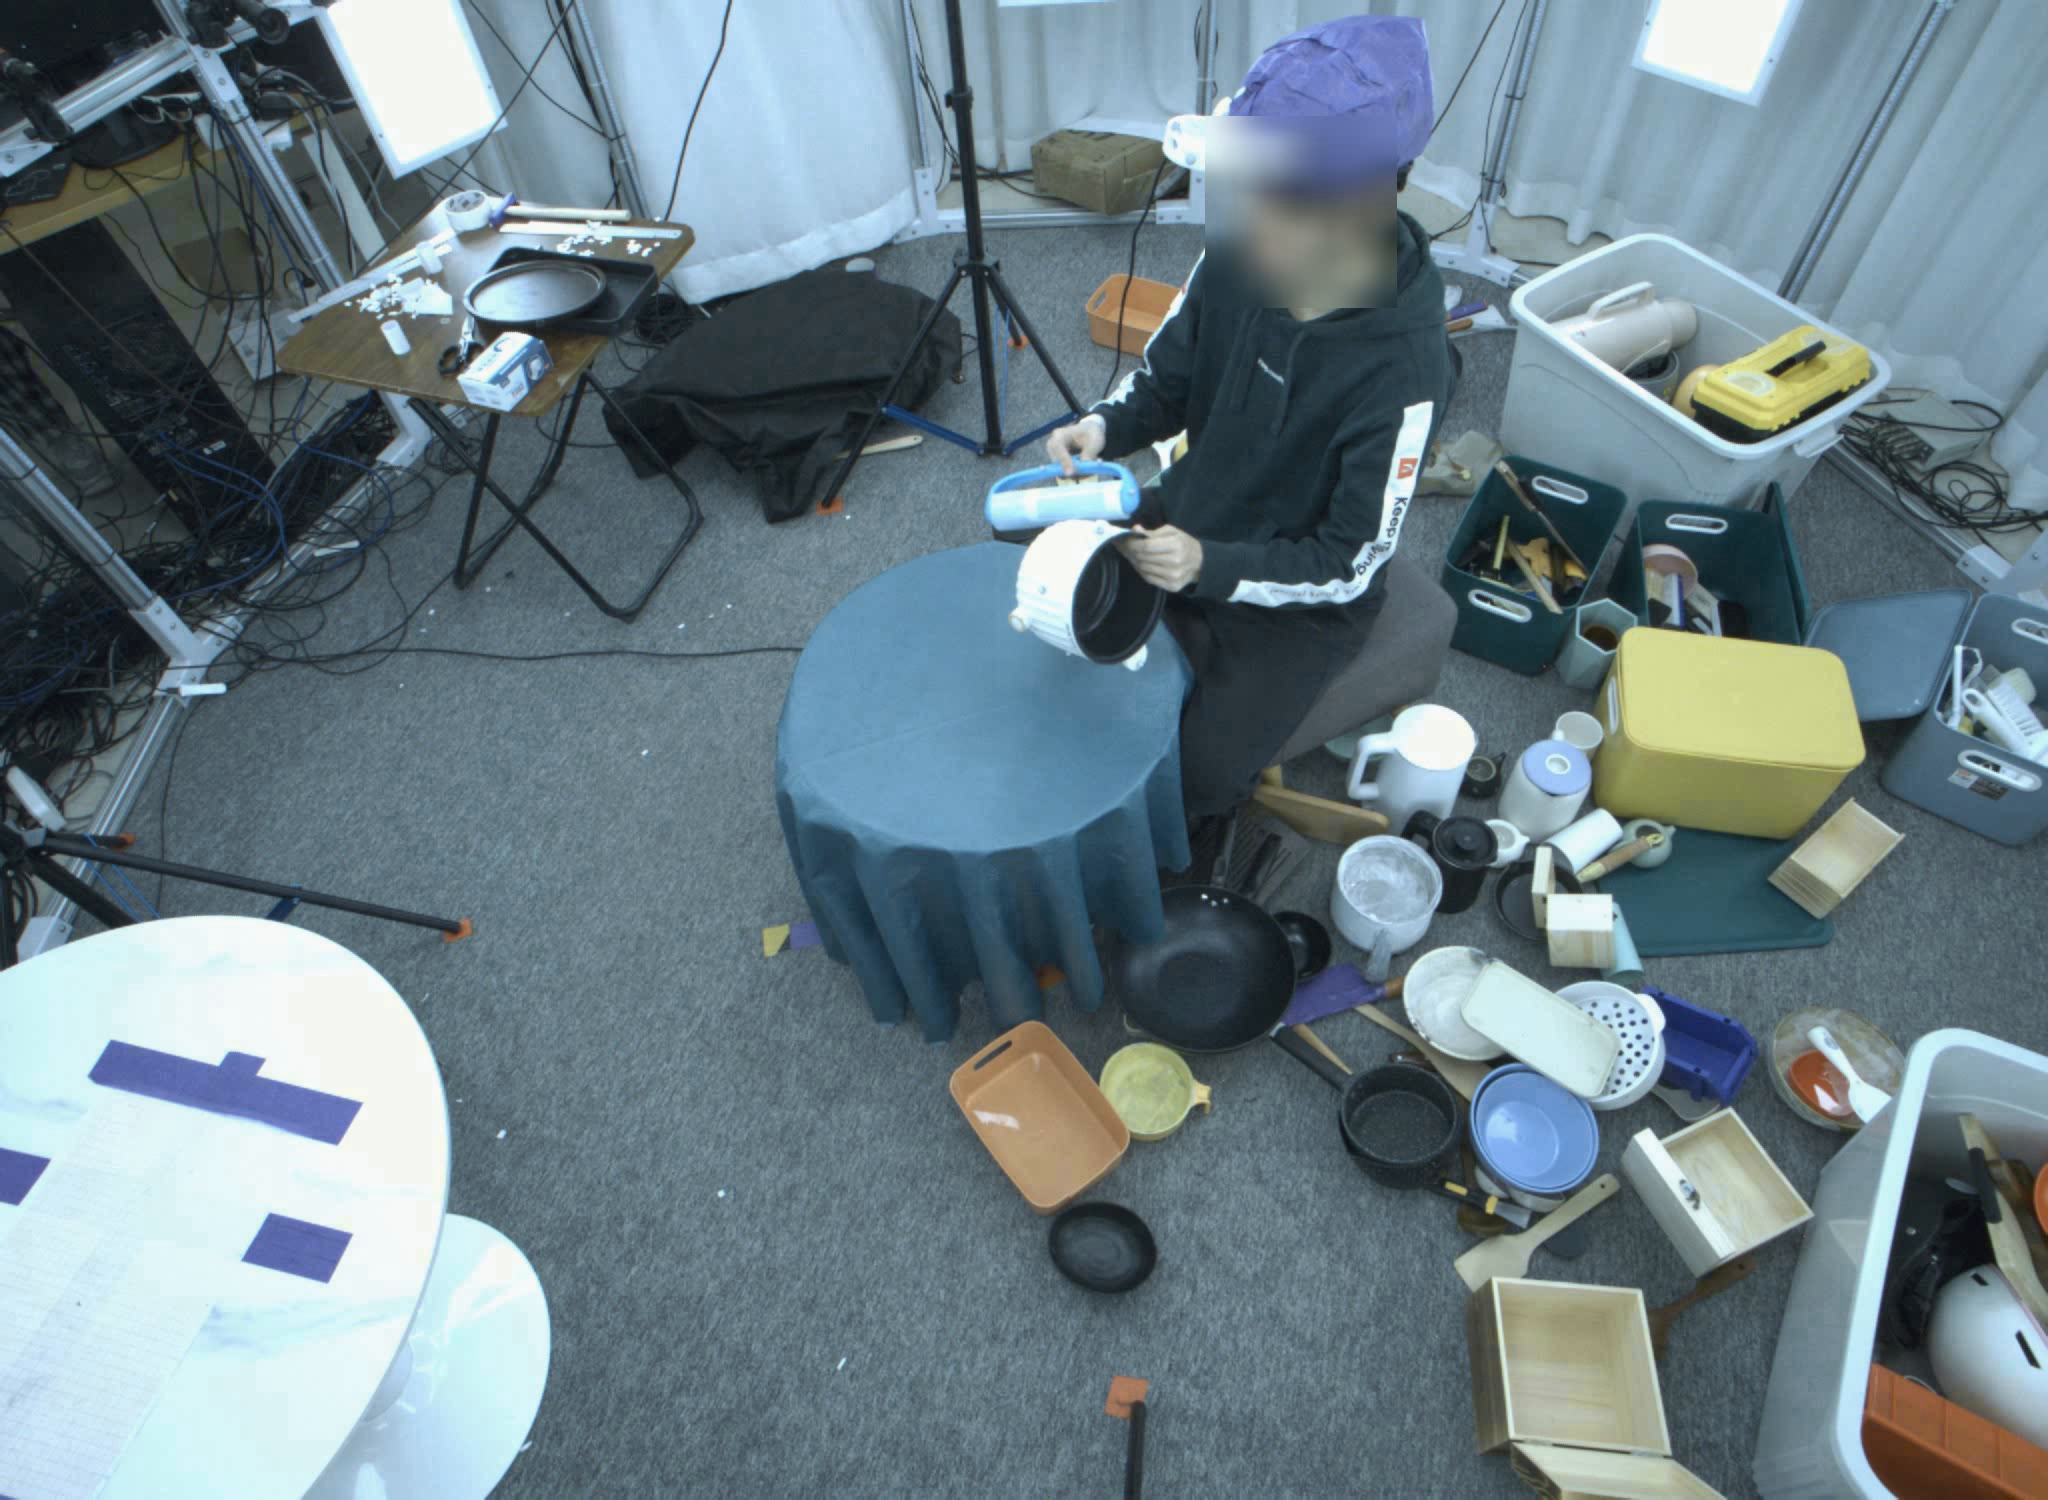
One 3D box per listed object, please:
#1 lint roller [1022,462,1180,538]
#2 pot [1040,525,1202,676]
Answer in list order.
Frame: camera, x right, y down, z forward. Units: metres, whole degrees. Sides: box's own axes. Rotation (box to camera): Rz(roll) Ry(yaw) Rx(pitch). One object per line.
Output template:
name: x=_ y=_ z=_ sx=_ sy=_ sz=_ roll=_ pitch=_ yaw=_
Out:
lint roller: x=0.116 y=-0.370 z=1.722 sx=0.226 sy=0.069 sz=0.179 roll=-4 pitch=43 yaw=22
pot: x=0.125 y=-0.207 z=1.659 sx=0.139 sy=0.244 sz=0.191 roll=23 pitch=57 yaw=42
